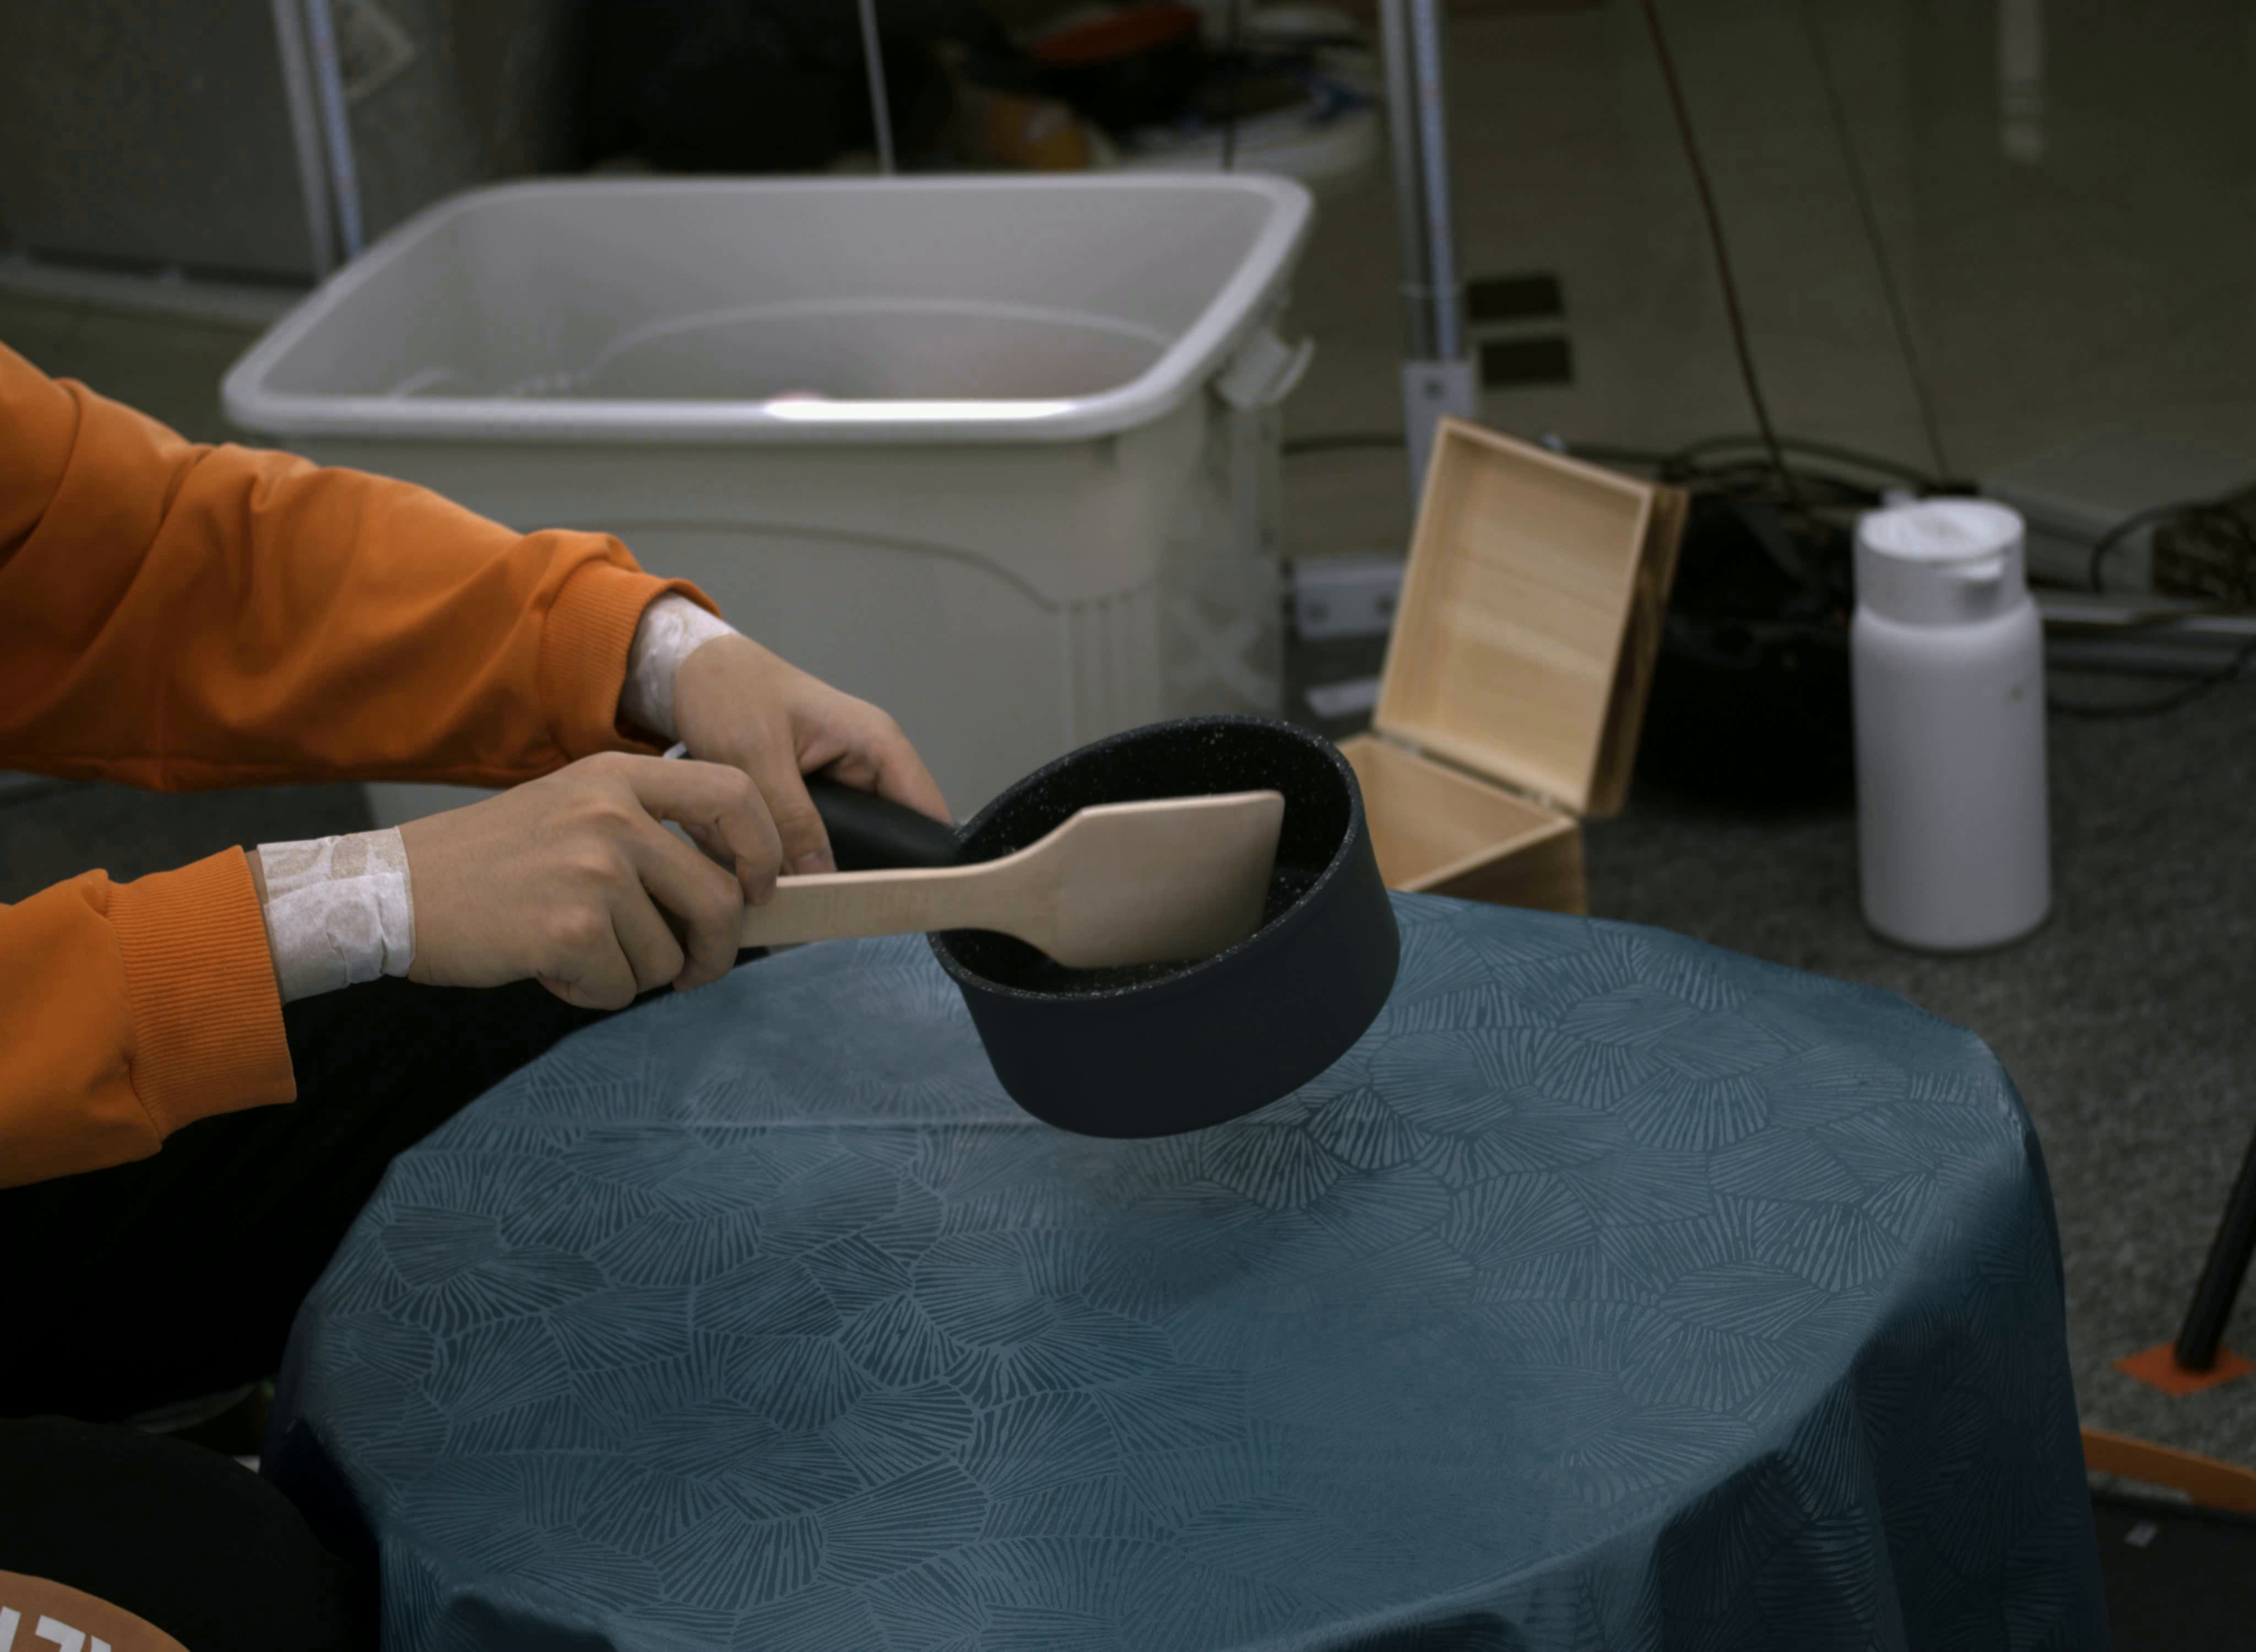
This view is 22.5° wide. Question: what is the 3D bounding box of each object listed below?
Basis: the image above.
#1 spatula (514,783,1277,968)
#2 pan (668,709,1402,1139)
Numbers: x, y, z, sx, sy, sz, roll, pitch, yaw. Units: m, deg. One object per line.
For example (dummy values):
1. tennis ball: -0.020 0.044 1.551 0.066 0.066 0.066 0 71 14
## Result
1. spatula: -0.082 0.025 2.056 0.292 0.073 0.010 -5 37 -22
2. pan: -0.045 0.024 2.178 0.326 0.088 0.170 13 46 39
